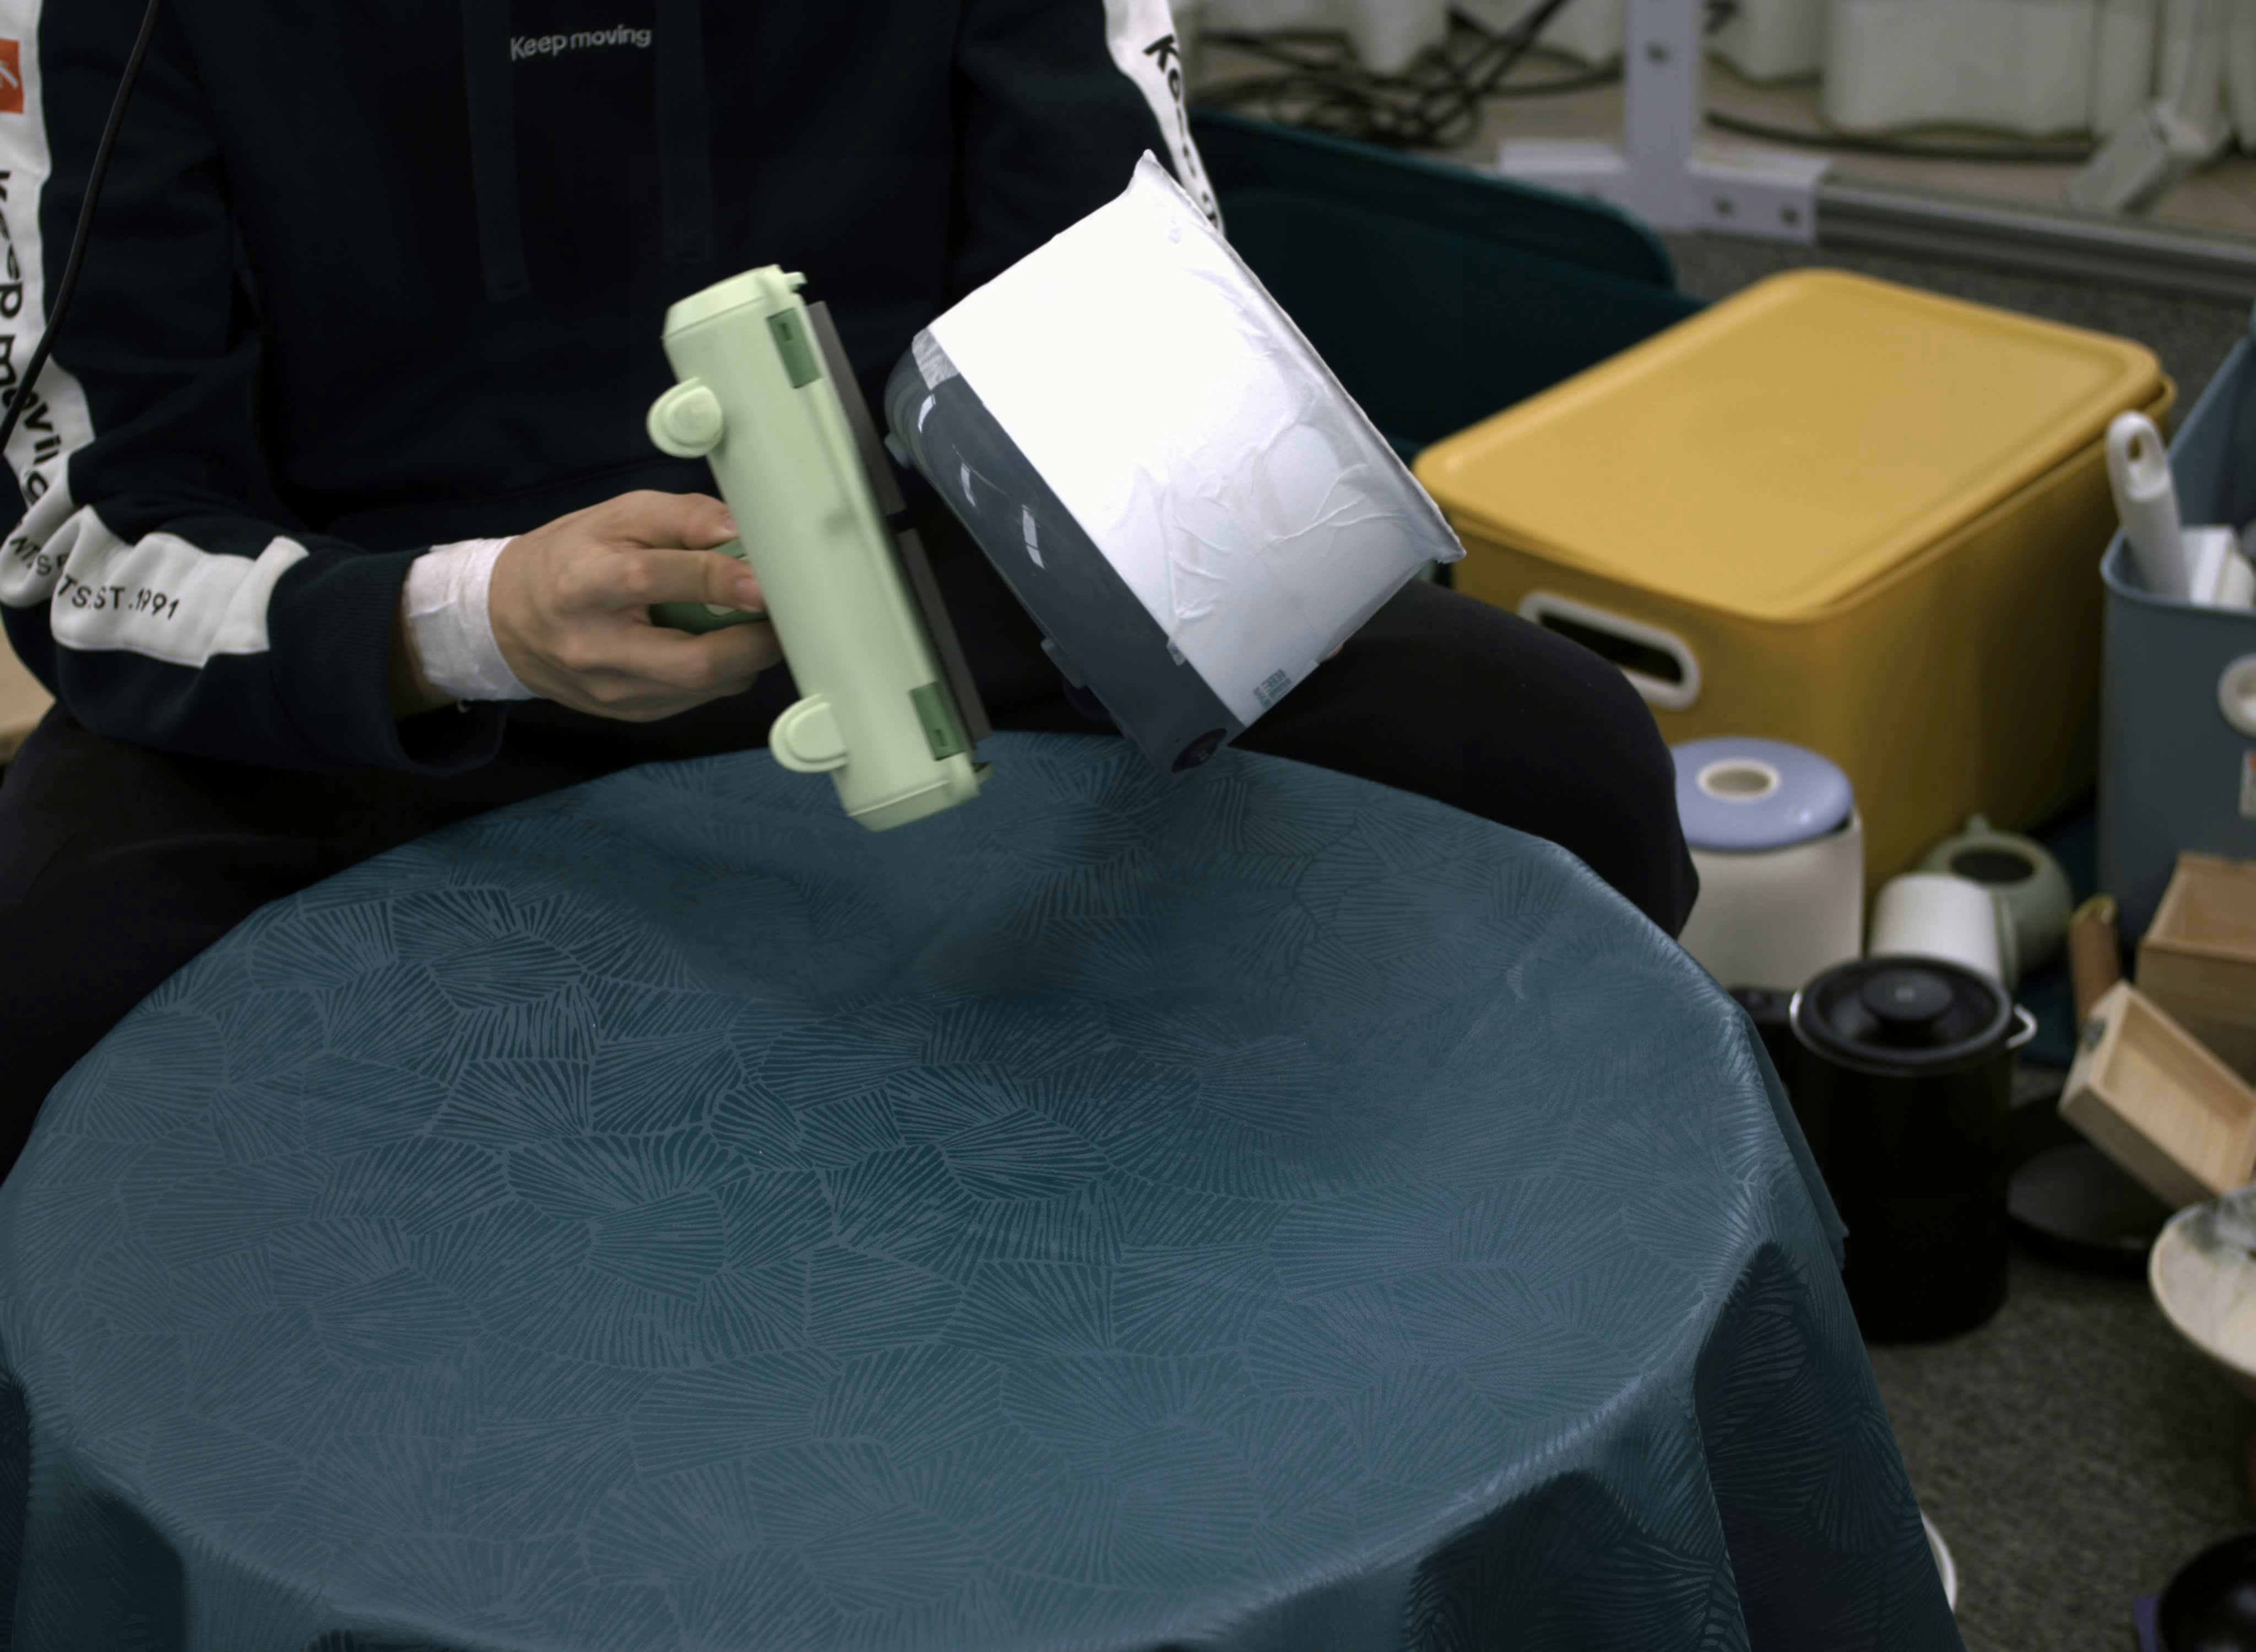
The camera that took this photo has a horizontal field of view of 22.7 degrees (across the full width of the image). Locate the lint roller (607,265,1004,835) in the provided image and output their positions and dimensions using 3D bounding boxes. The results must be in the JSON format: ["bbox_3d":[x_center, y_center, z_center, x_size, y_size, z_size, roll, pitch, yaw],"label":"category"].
[{"bbox_3d":[-0.142,-0.081,1.974,0.181,0.199,0.083,-18,4,43],"label":"lint roller"}]

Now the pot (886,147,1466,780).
[{"bbox_3d":[0.018,-0.118,1.960,0.136,0.233,0.180,-37,74,3],"label":"pot"}]
